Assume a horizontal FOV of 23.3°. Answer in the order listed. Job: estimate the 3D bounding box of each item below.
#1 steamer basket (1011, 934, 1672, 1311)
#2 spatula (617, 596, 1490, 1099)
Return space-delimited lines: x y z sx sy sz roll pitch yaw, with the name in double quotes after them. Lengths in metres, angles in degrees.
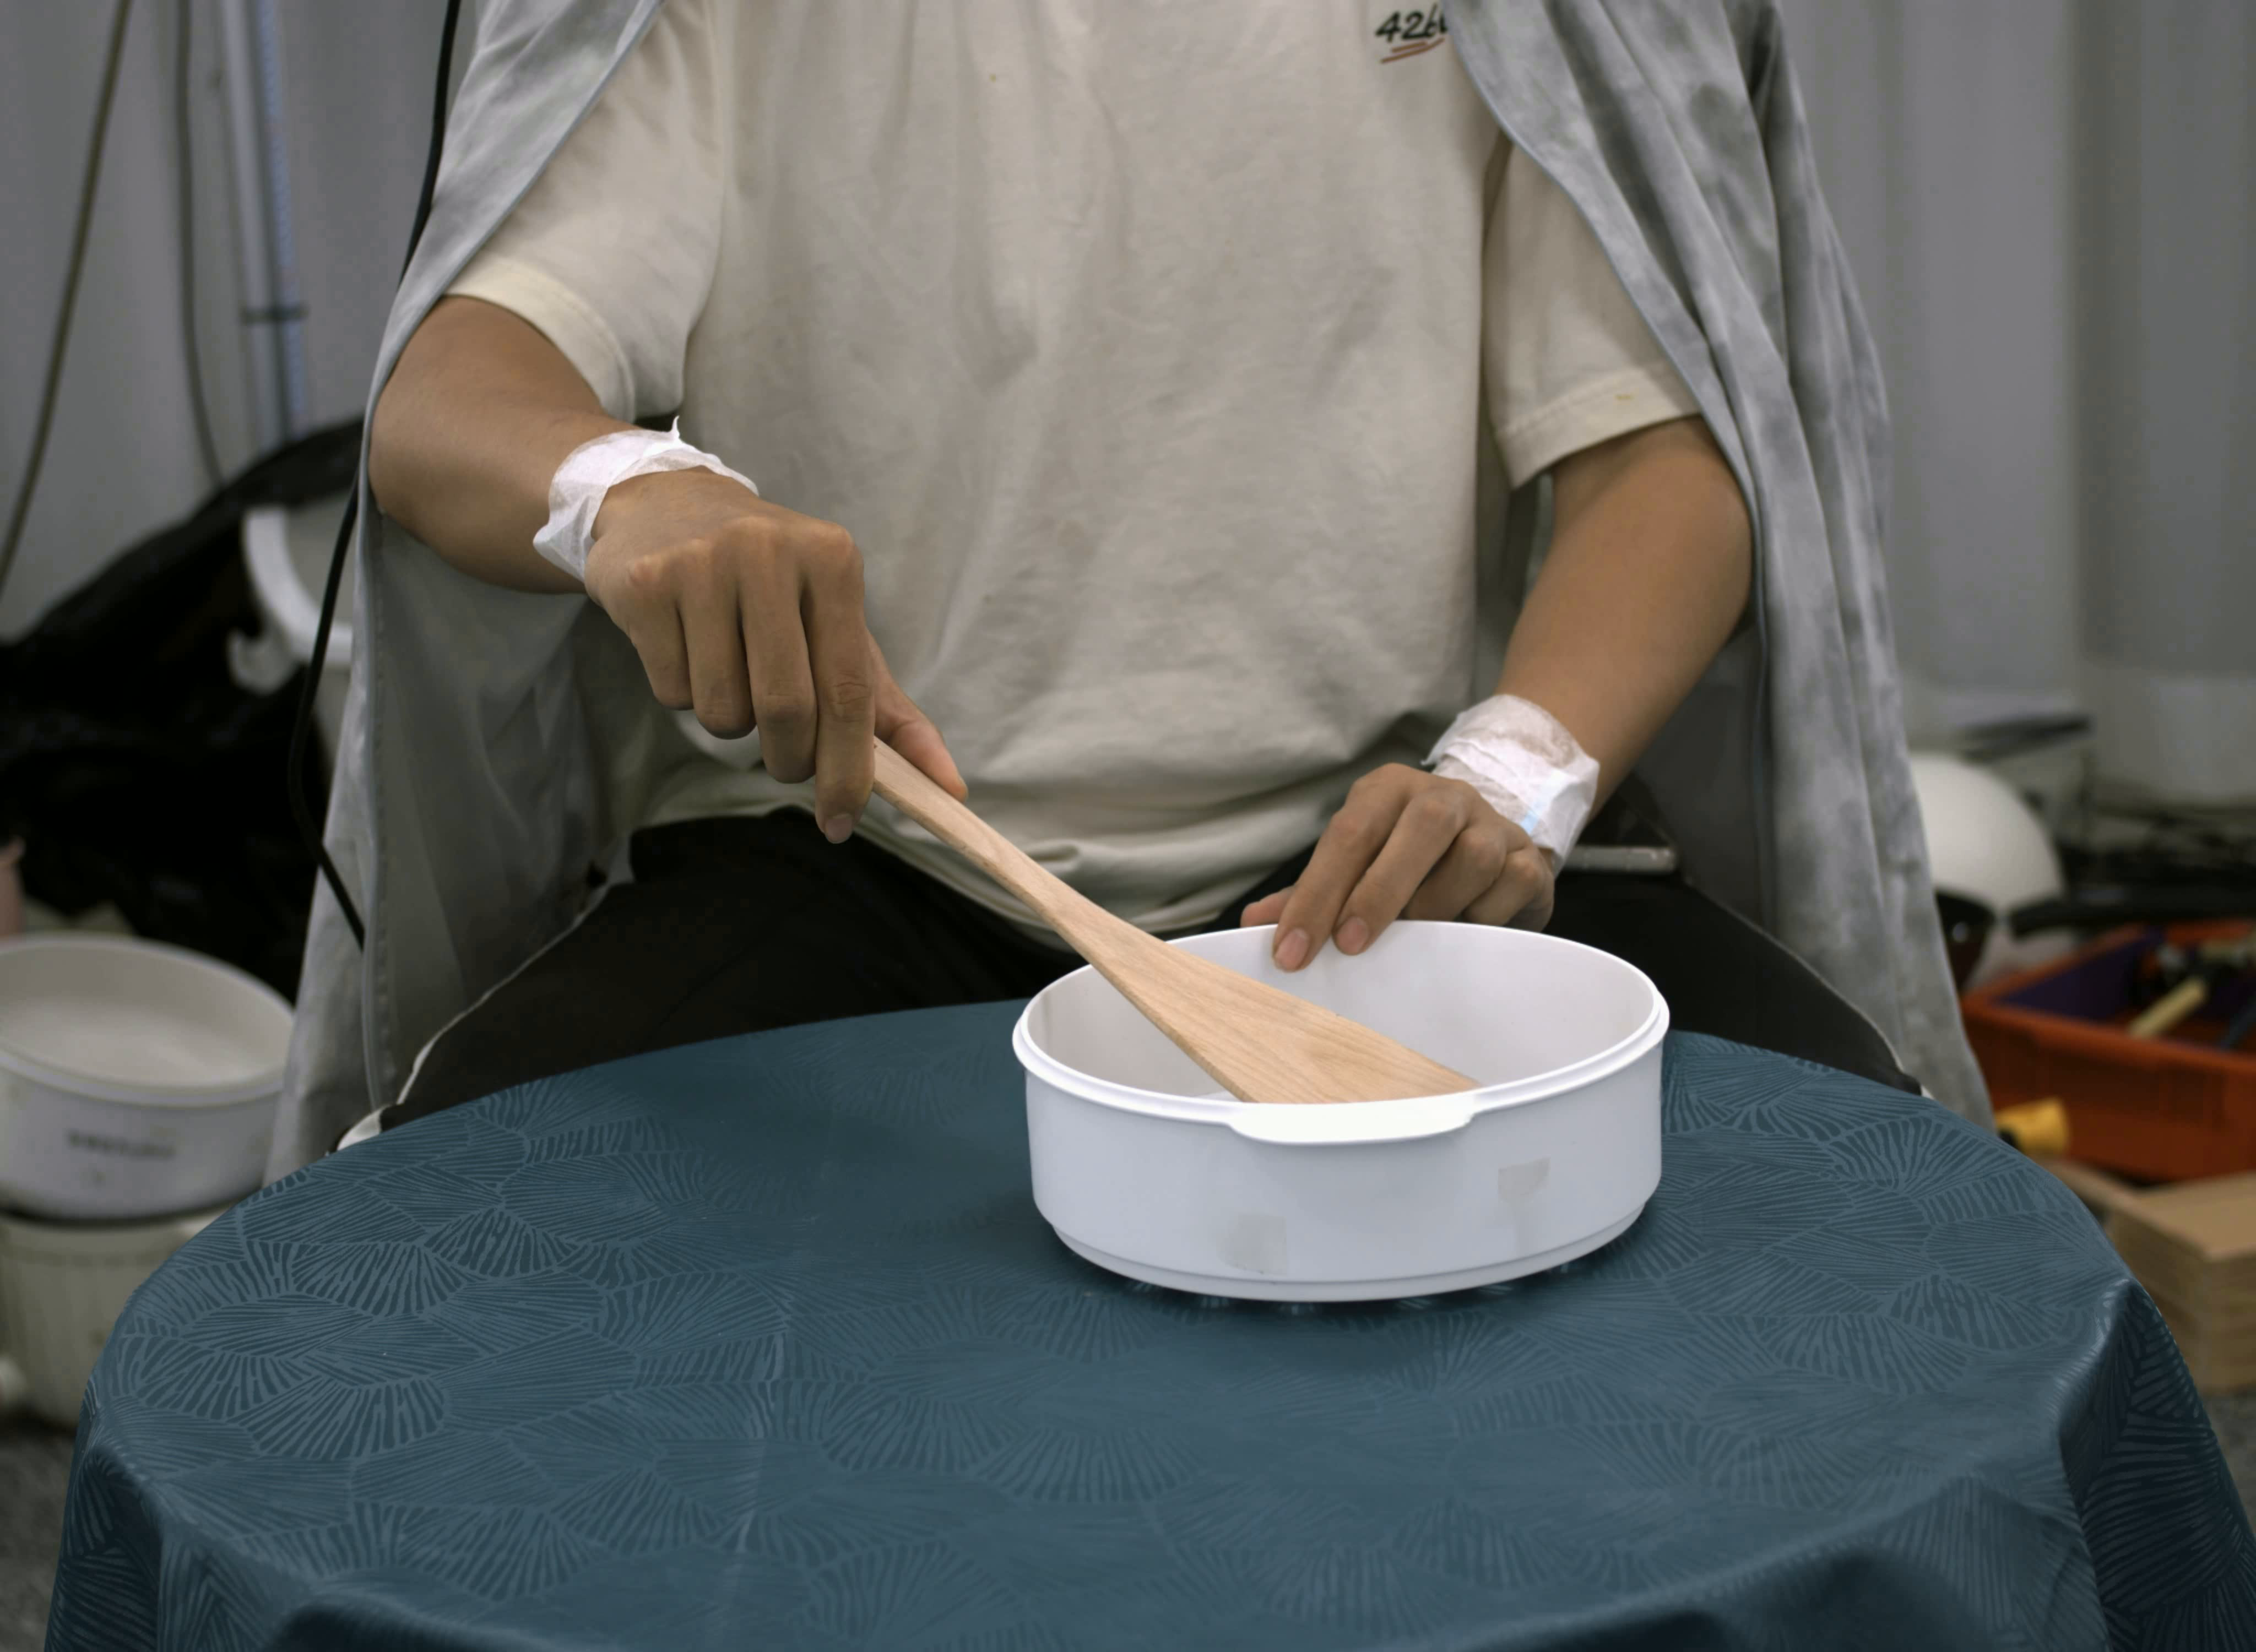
0.066 0.090 1.673 0.201 0.069 0.232 -1 14 1 "steamer basket"
-0.024 0.018 1.696 0.328 0.016 0.080 35 29 10 "spatula"
